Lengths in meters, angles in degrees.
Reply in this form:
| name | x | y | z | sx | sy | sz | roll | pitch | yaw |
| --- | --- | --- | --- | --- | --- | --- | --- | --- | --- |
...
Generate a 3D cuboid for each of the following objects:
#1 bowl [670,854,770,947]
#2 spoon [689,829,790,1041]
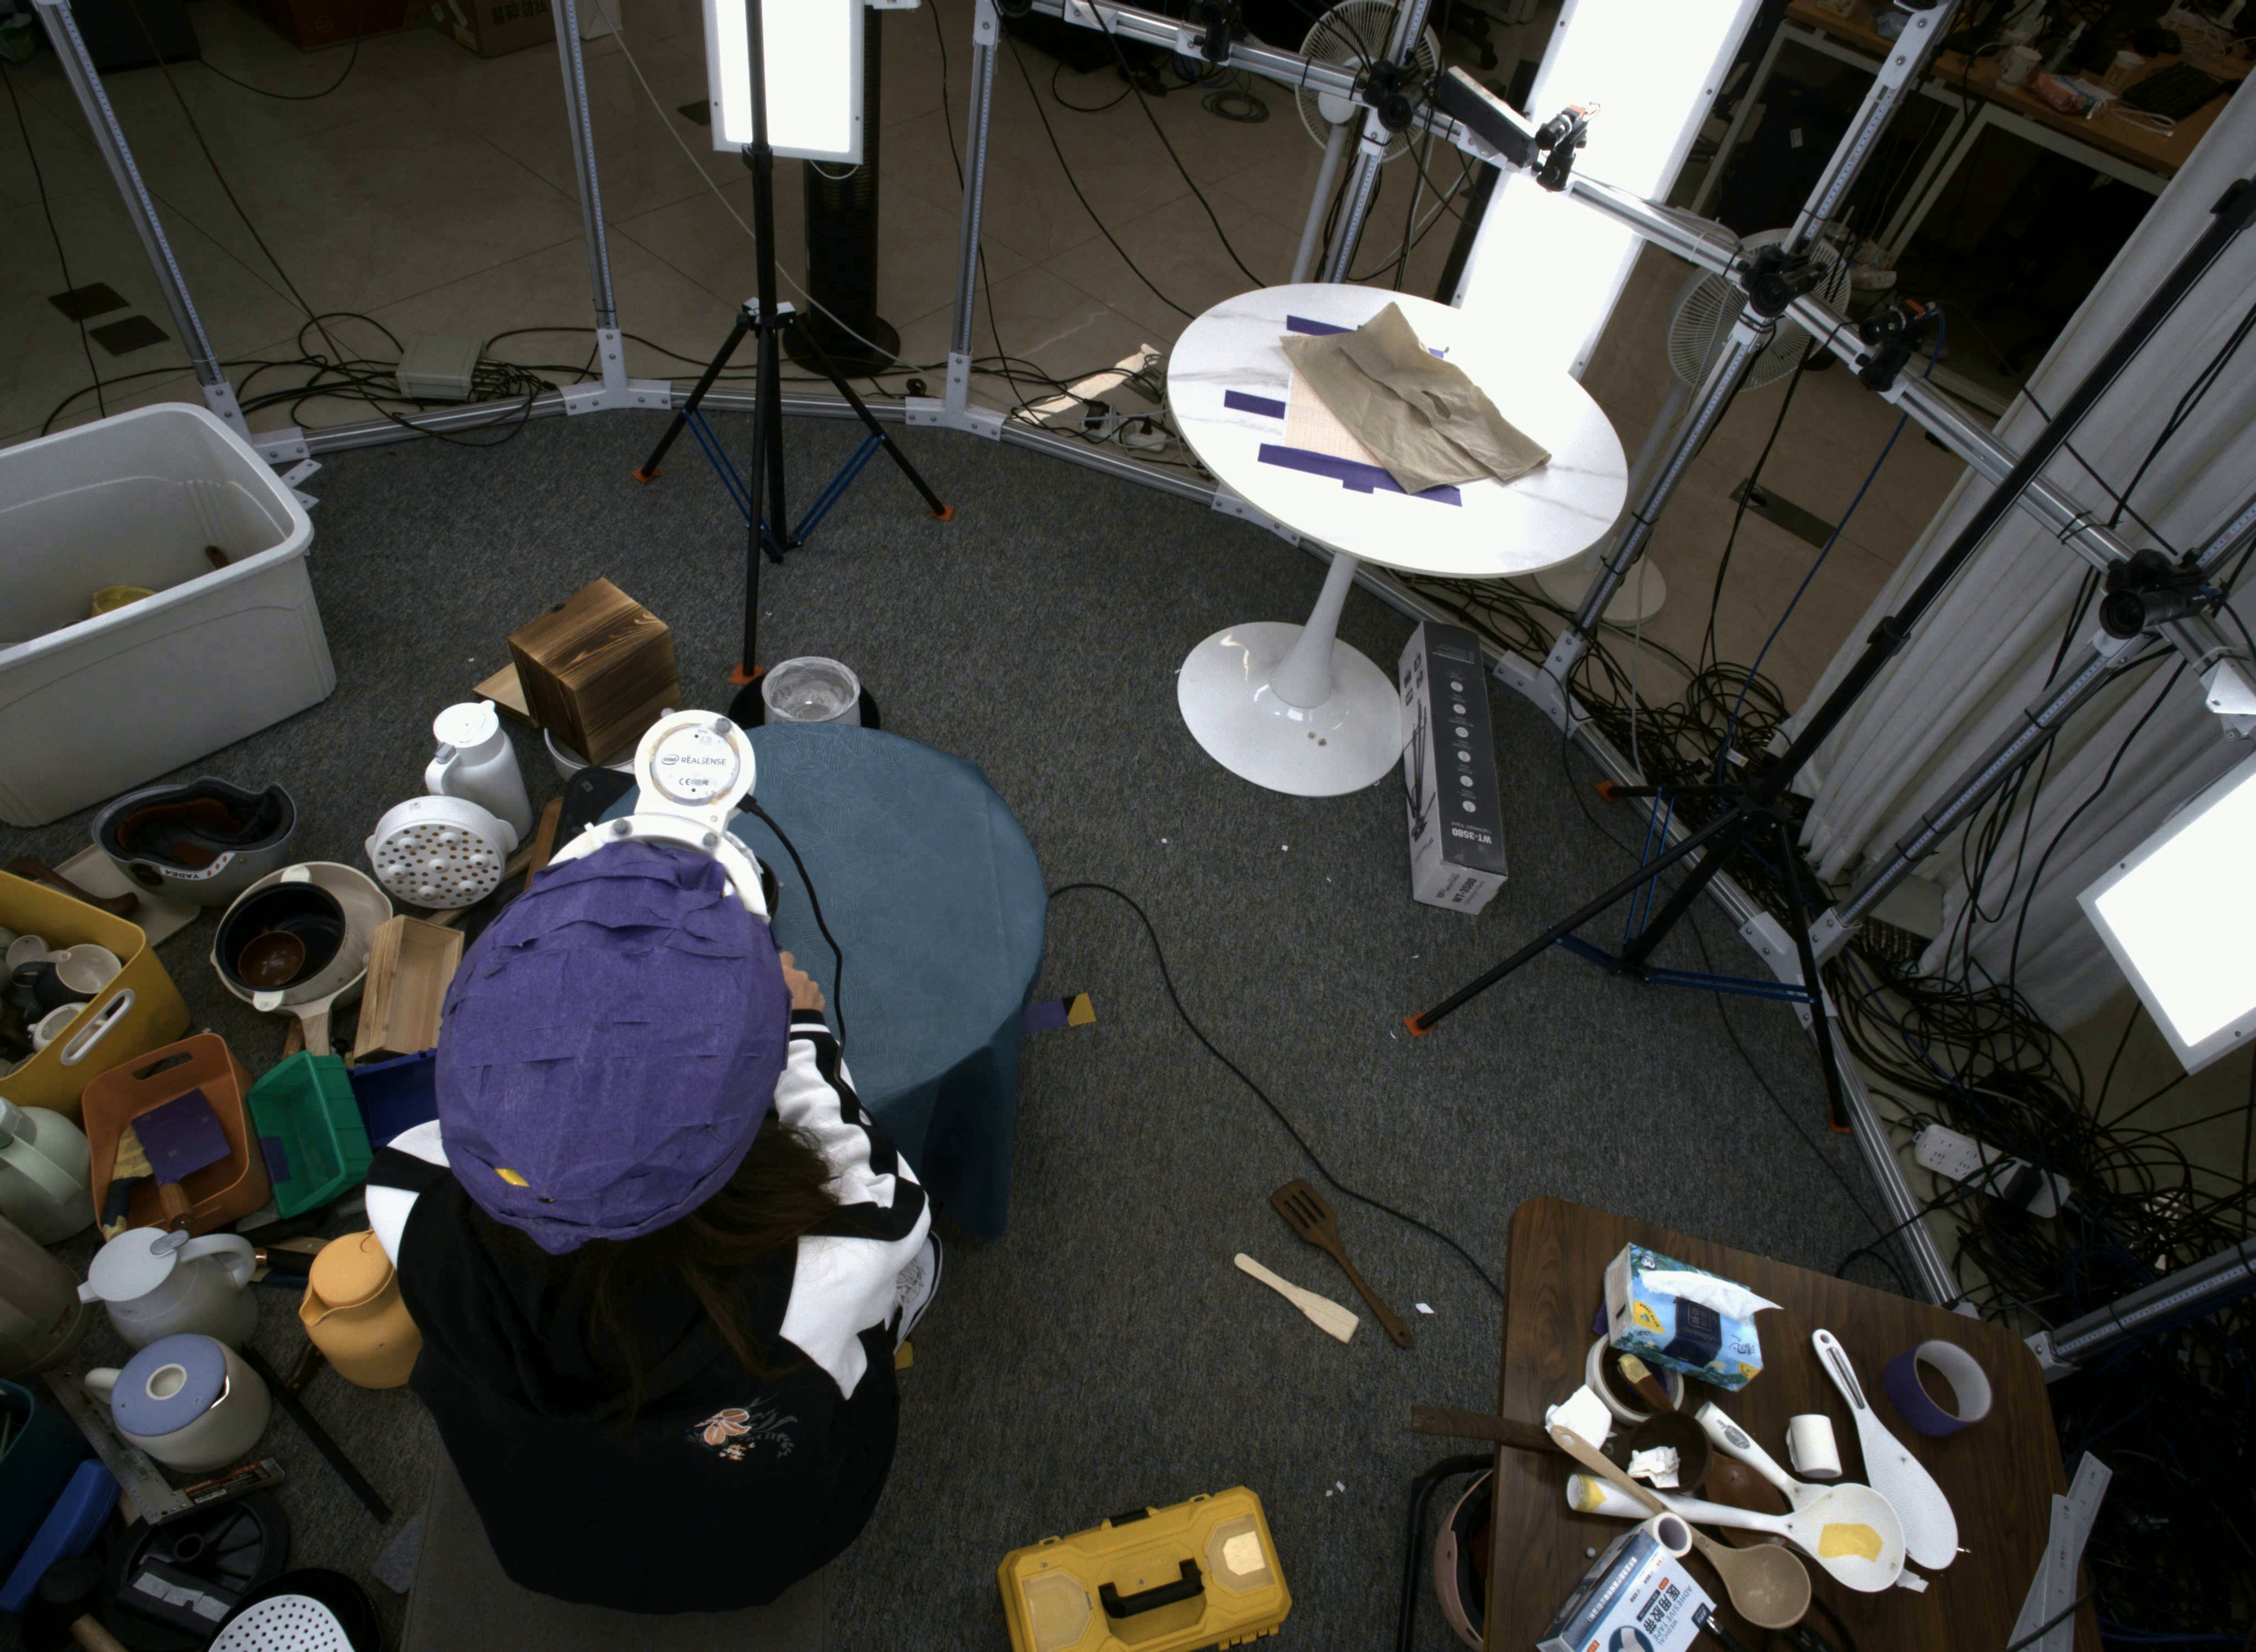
| name | x | y | z | sx | sy | sz | roll | pitch | yaw |
| --- | --- | --- | --- | --- | --- | --- | --- | --- | --- |
| bowl | -0.497 | 0.095 | 1.581 | 0.118 | 0.071 | 0.116 | 8 | 52 | -8 |
| spoon | -0.450 | 0.126 | 1.488 | 0.060 | 0.101 | 0.272 | -6 | 59 | -31 |
